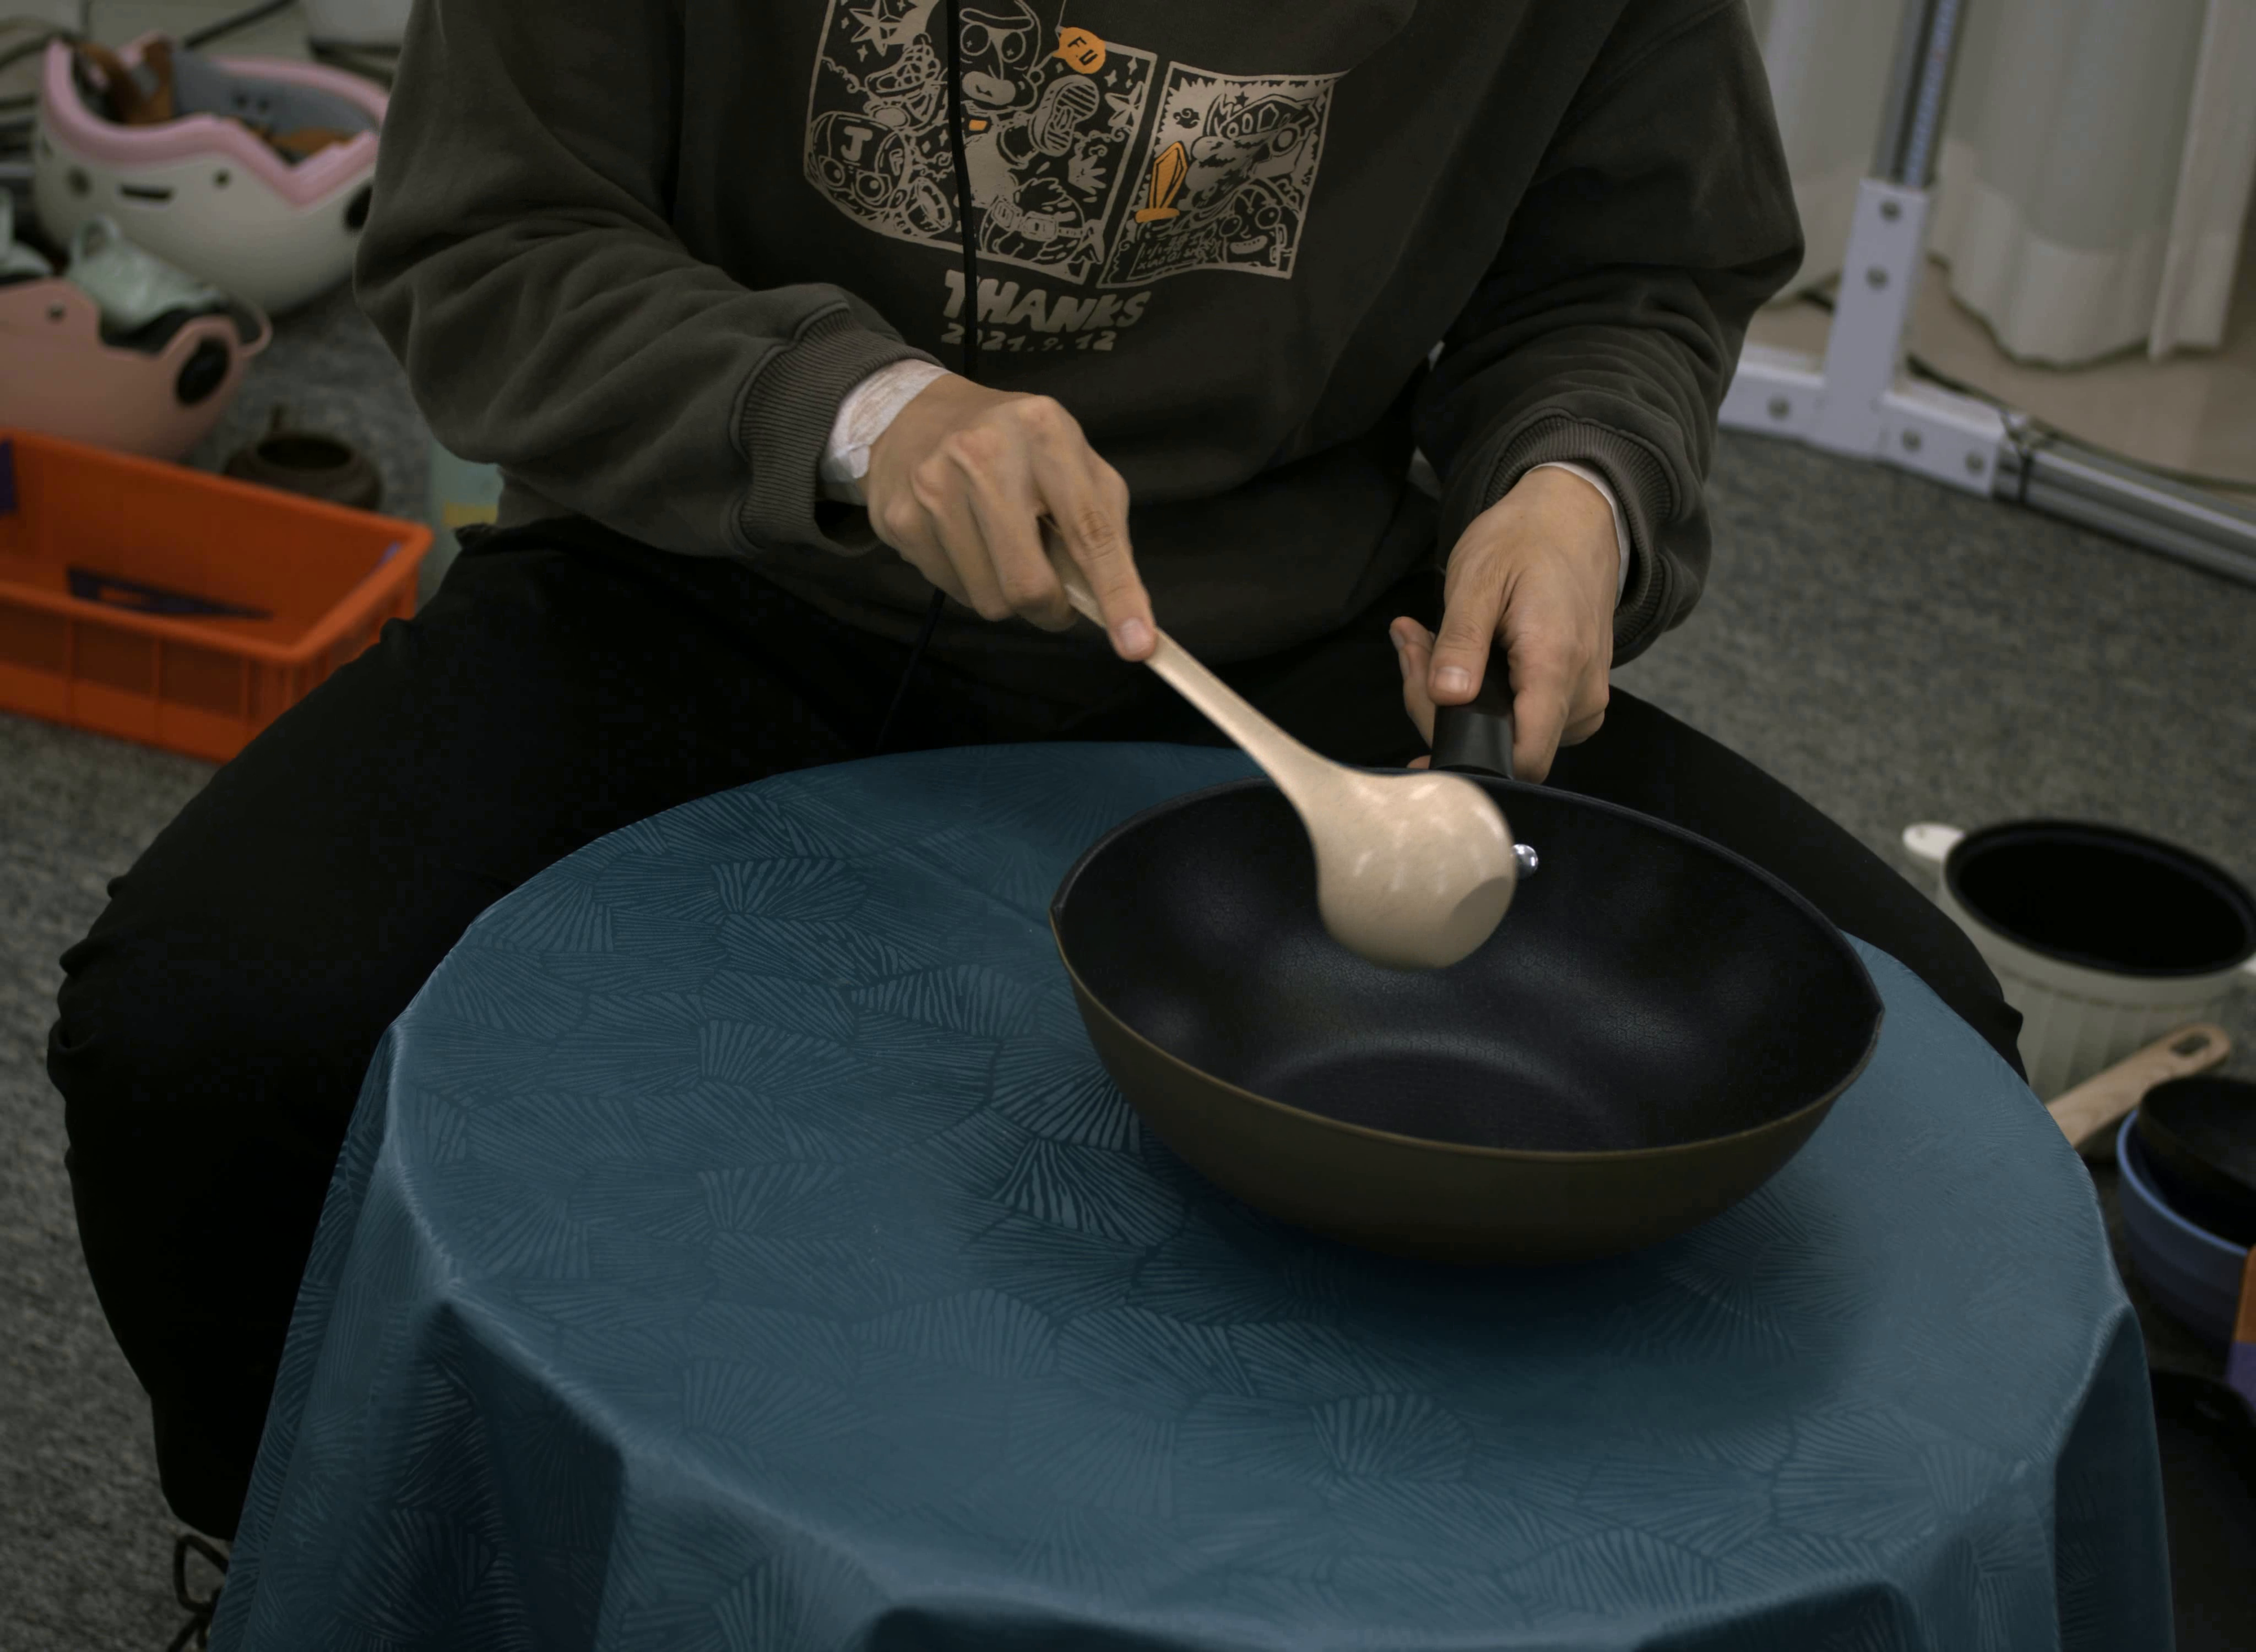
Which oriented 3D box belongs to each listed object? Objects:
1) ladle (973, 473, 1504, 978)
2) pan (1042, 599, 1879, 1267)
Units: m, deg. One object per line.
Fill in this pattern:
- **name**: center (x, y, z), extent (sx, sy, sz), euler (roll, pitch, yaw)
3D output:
- **ladle**: center (0.037, -0.039, 1.902), extent (0.256, 0.072, 0.072), euler (45, 5, 34)
- **pan**: center (0.116, 0.038, 1.910), extent (0.287, 0.086, 0.465), euler (7, 25, 2)
